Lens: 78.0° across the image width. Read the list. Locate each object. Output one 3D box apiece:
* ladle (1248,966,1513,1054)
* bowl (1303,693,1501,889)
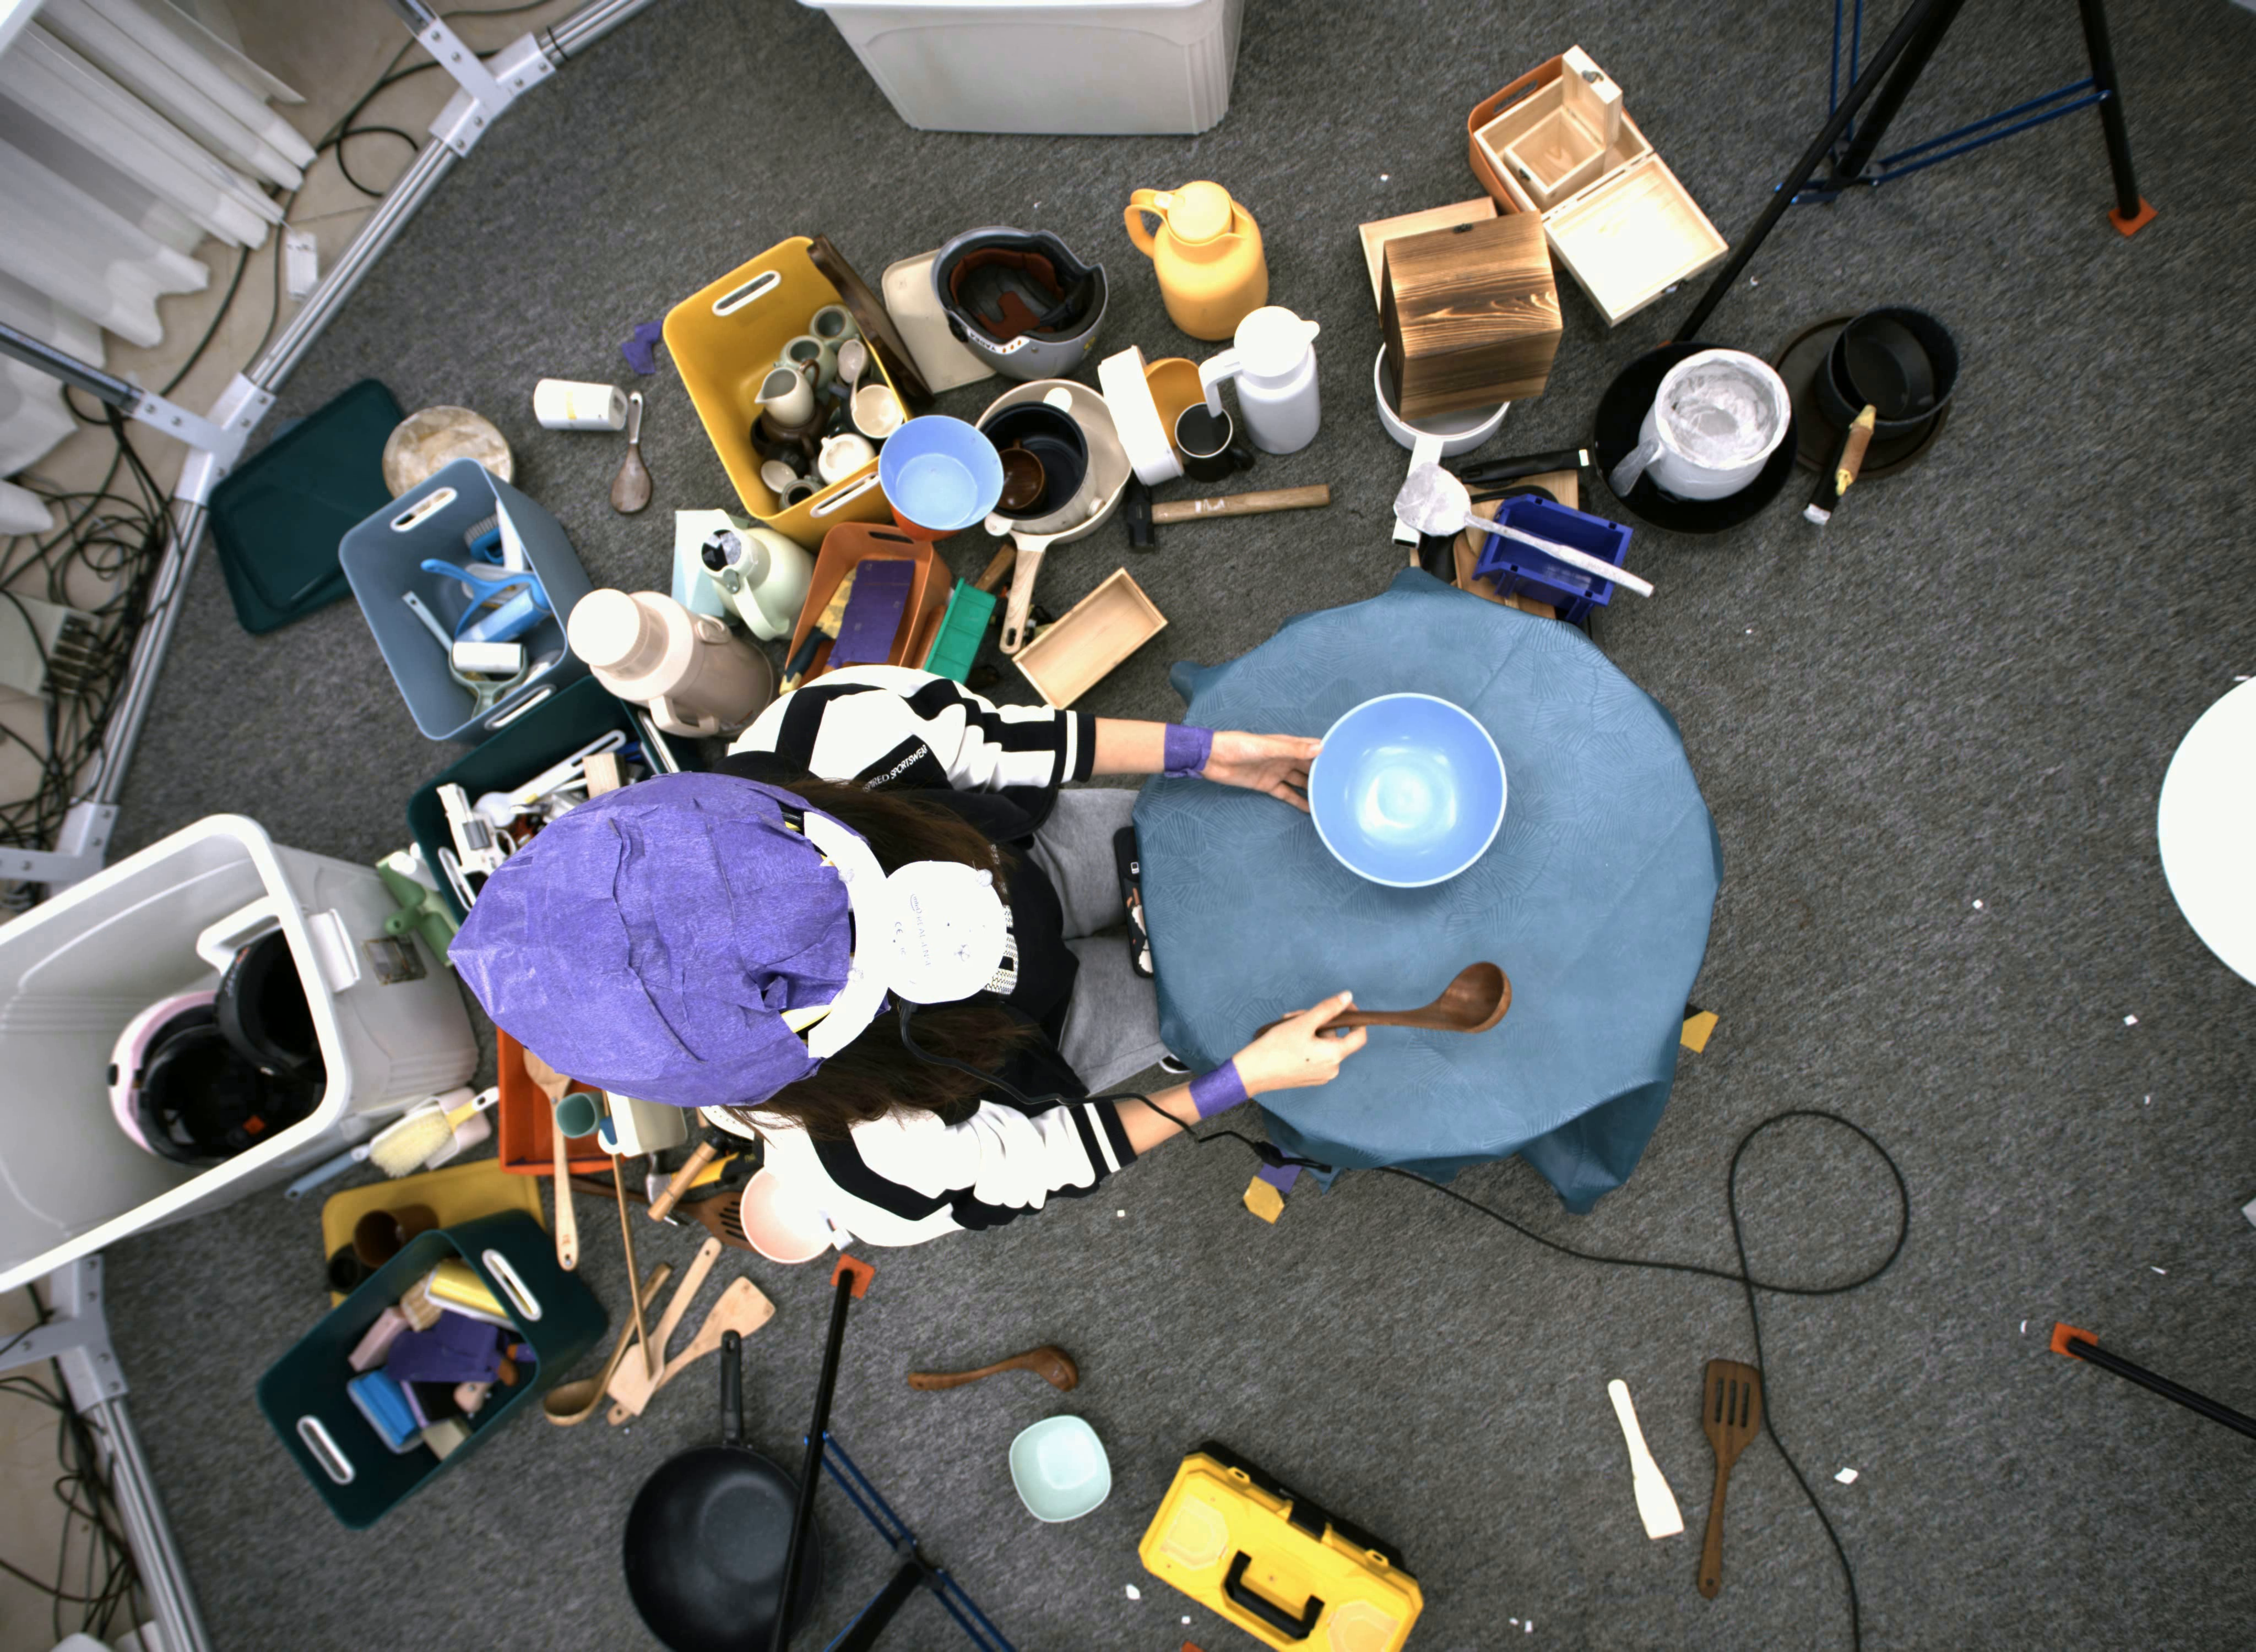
[{"bbox_3d":[0.246,0.183,1.359,0.261,0.074,0.066,-6,127,4],"label":"ladle"},{"bbox_3d":[0.277,-0.035,1.417,0.197,0.095,0.196,0,91,6],"label":"bowl"}]
